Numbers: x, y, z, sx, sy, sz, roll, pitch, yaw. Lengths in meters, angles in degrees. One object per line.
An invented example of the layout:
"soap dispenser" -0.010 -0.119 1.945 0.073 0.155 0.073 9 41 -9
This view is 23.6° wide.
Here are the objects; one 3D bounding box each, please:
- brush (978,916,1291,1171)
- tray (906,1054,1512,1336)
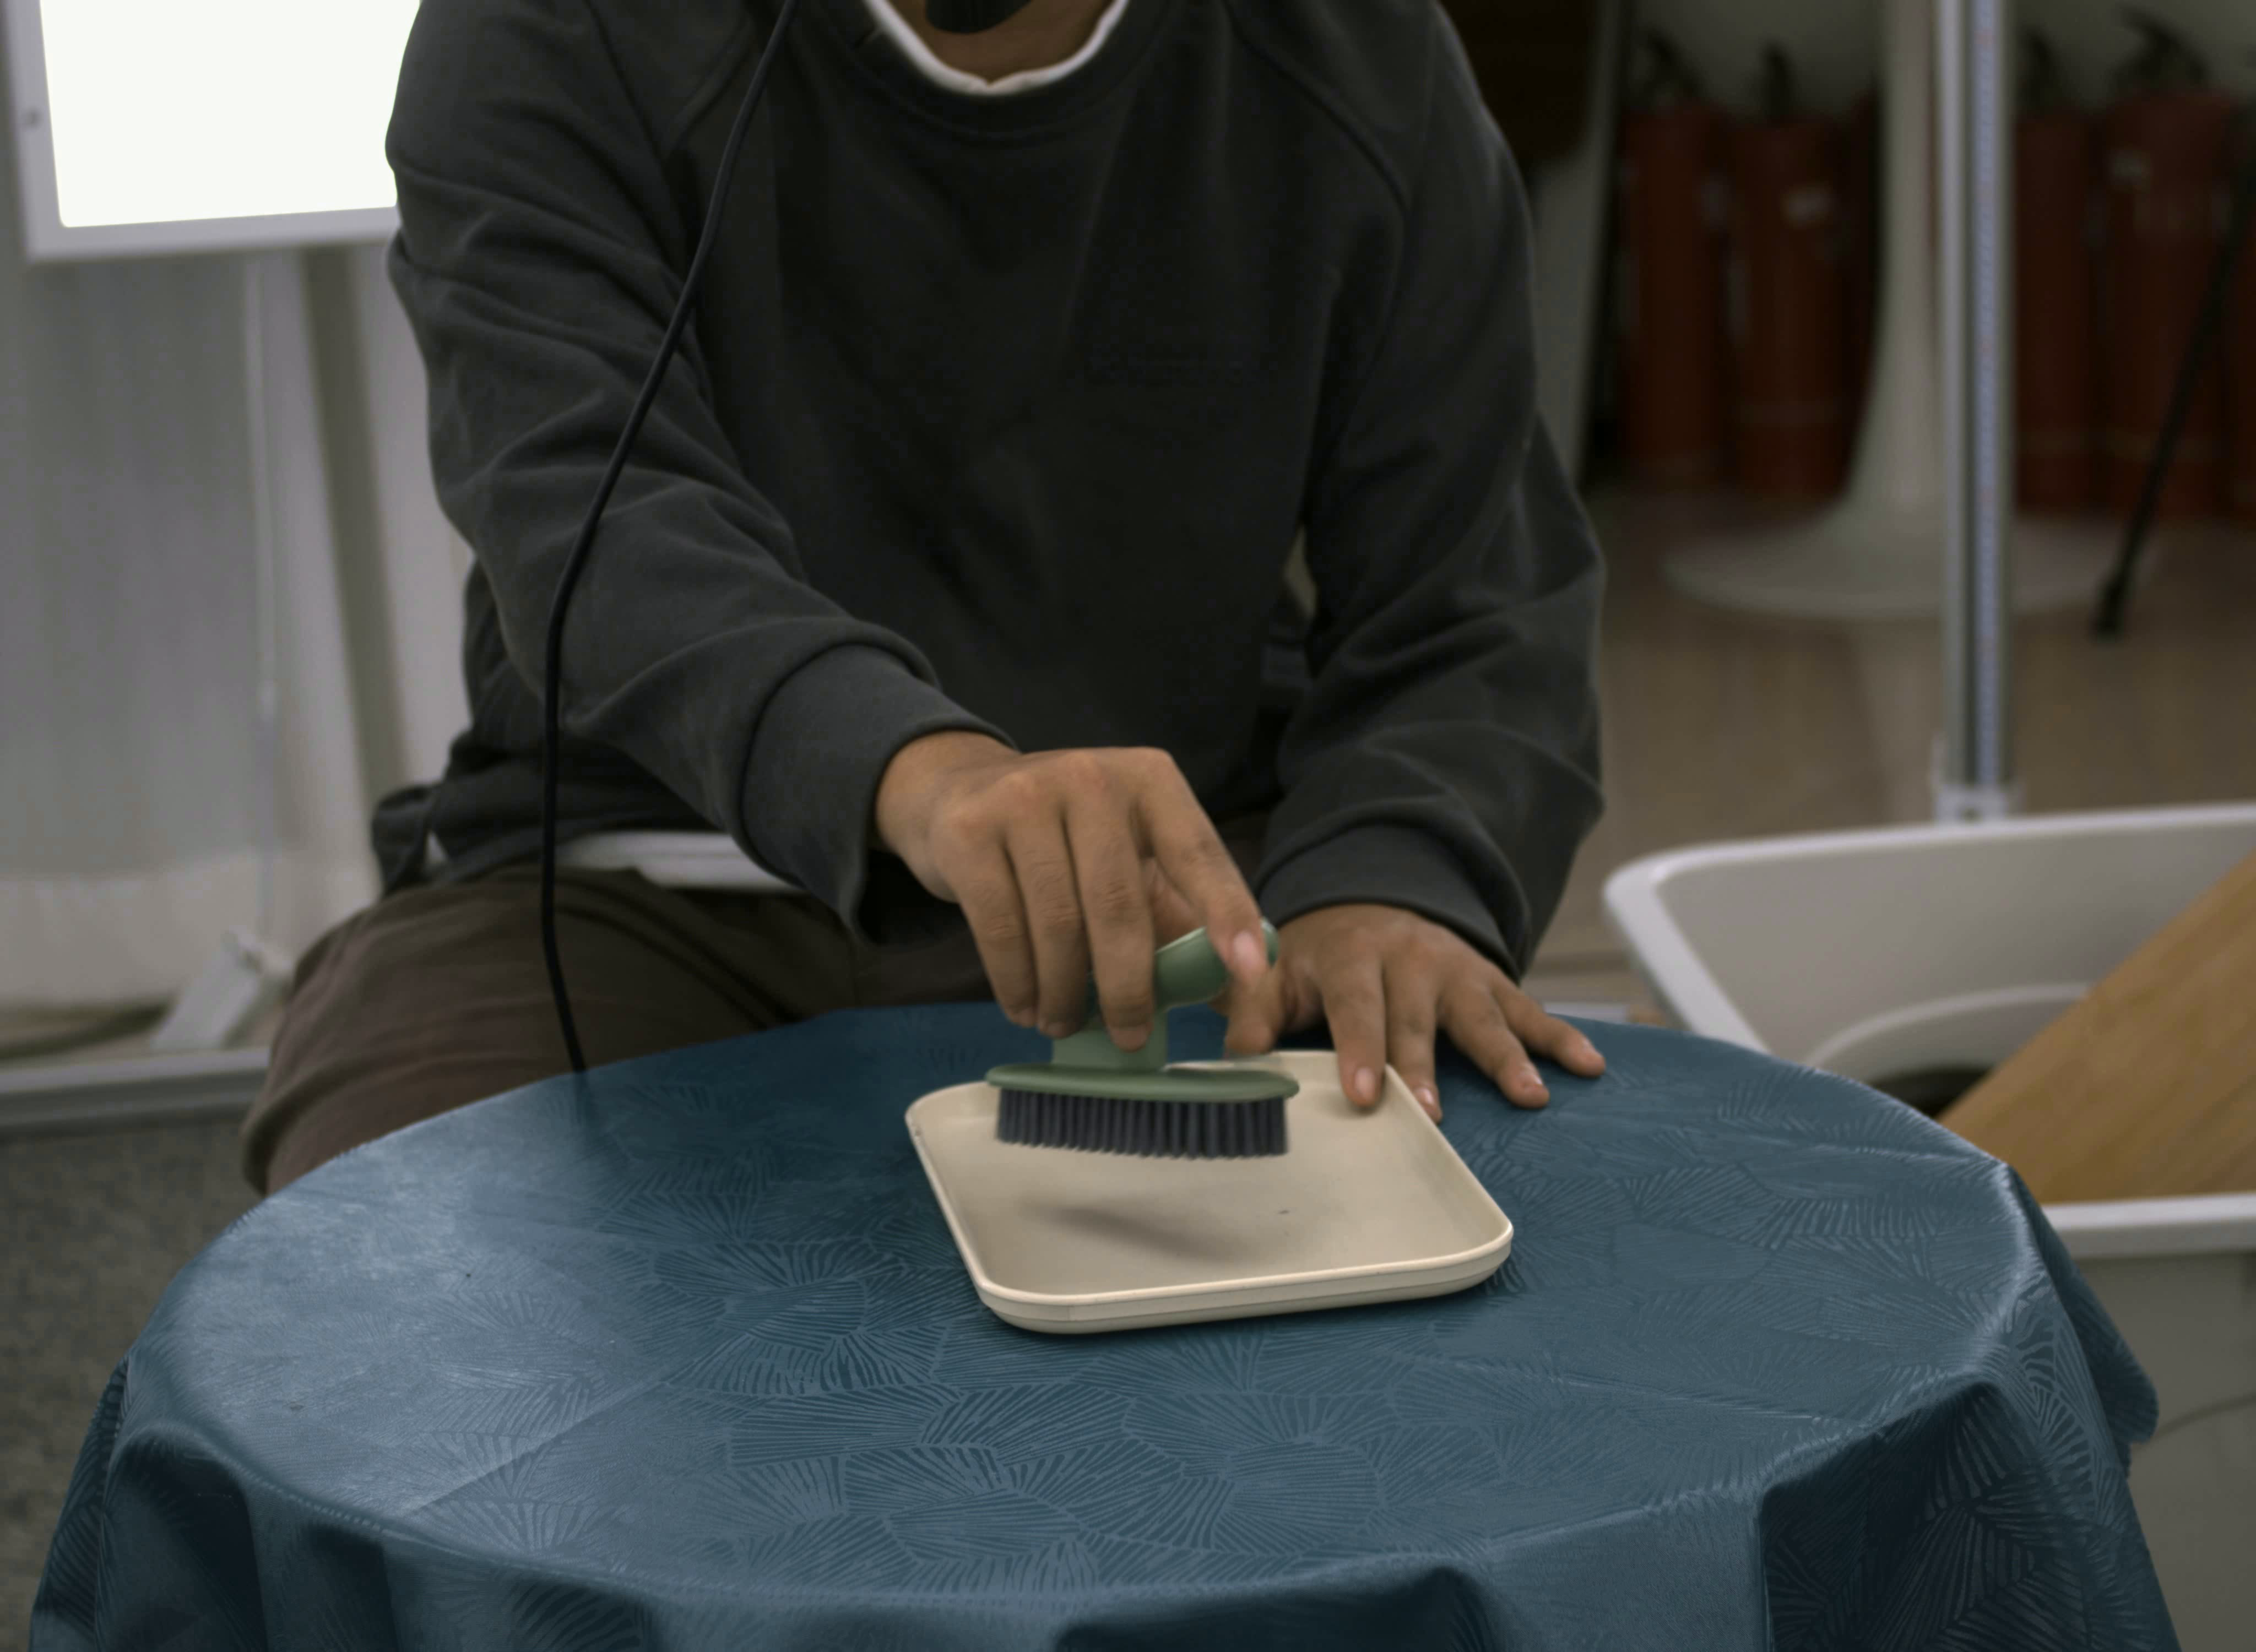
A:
"brush" 0.003 0.078 1.701 0.058 0.077 0.124 0 -13 -40
"tray" 0.023 0.118 1.743 0.168 0.017 0.241 -5 14 -7
